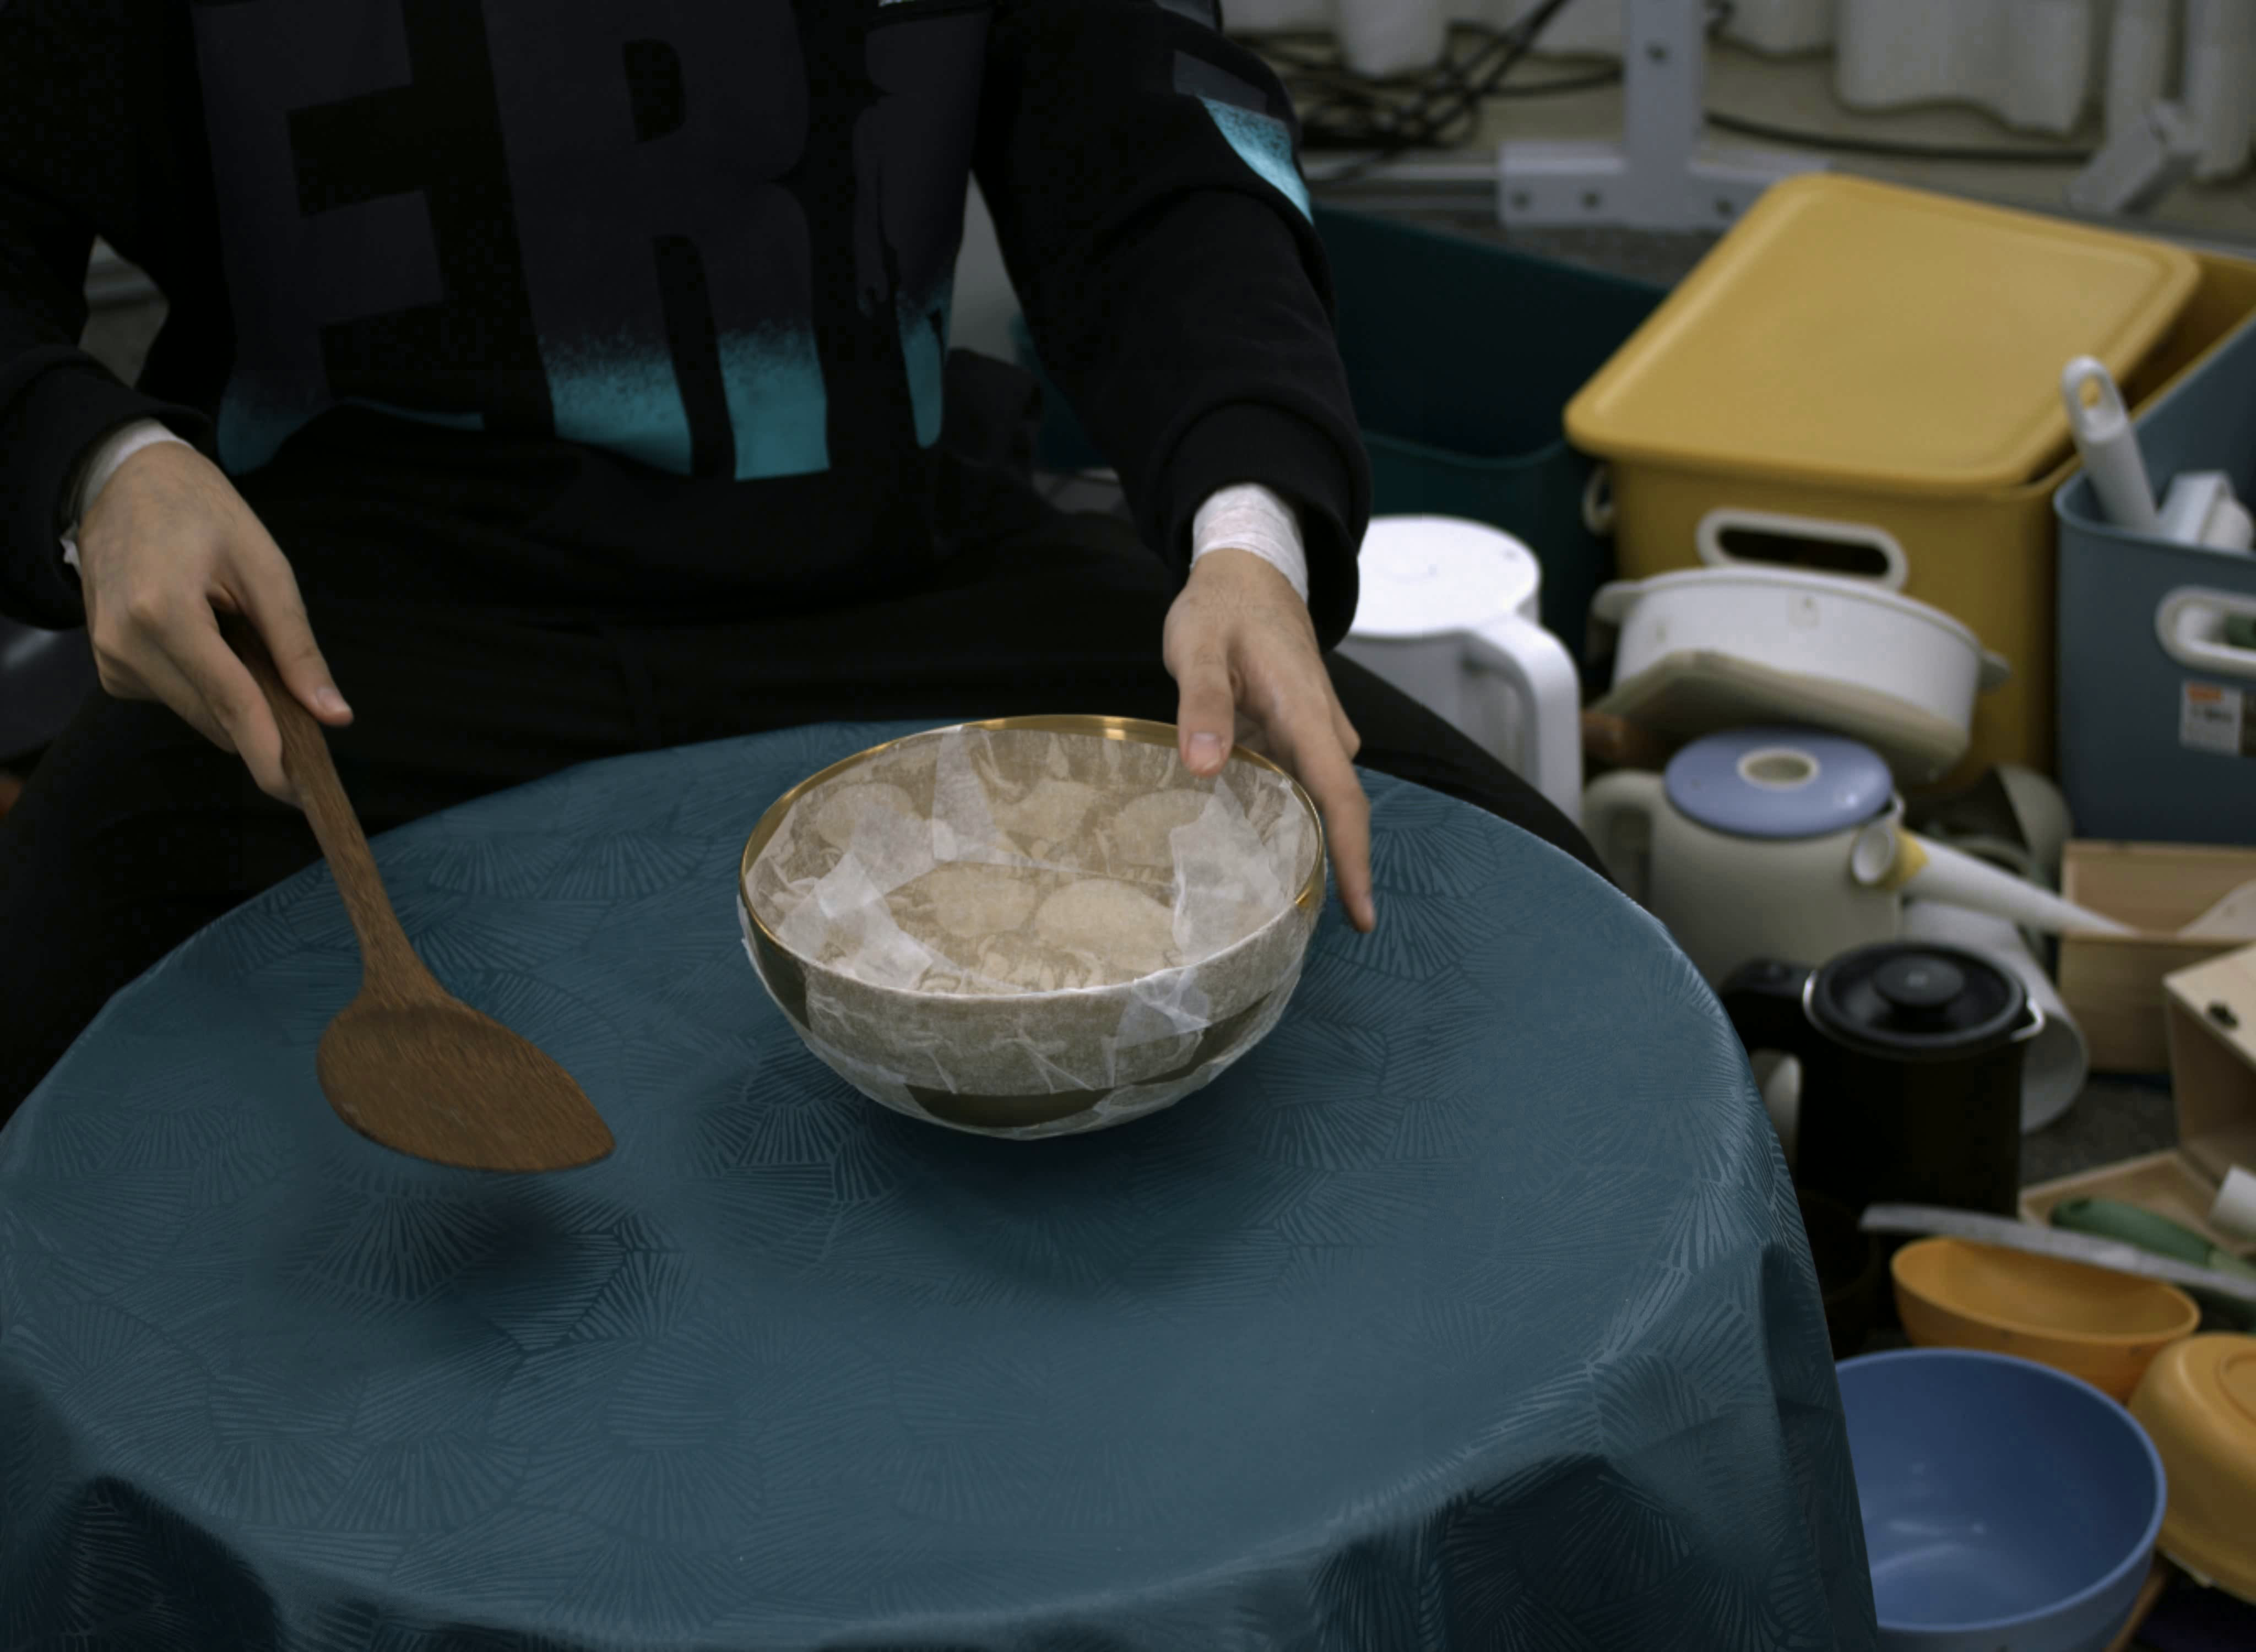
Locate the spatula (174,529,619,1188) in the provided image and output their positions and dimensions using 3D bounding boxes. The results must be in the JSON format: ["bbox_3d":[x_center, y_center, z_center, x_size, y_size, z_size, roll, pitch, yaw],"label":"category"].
[{"bbox_3d":[-0.272,0.003,1.942,0.096,0.015,0.390,6,33,-30],"label":"spatula"}]

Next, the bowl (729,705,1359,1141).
[{"bbox_3d":[-0.027,0.045,1.911,0.213,0.093,0.218,-4,26,2],"label":"bowl"}]
